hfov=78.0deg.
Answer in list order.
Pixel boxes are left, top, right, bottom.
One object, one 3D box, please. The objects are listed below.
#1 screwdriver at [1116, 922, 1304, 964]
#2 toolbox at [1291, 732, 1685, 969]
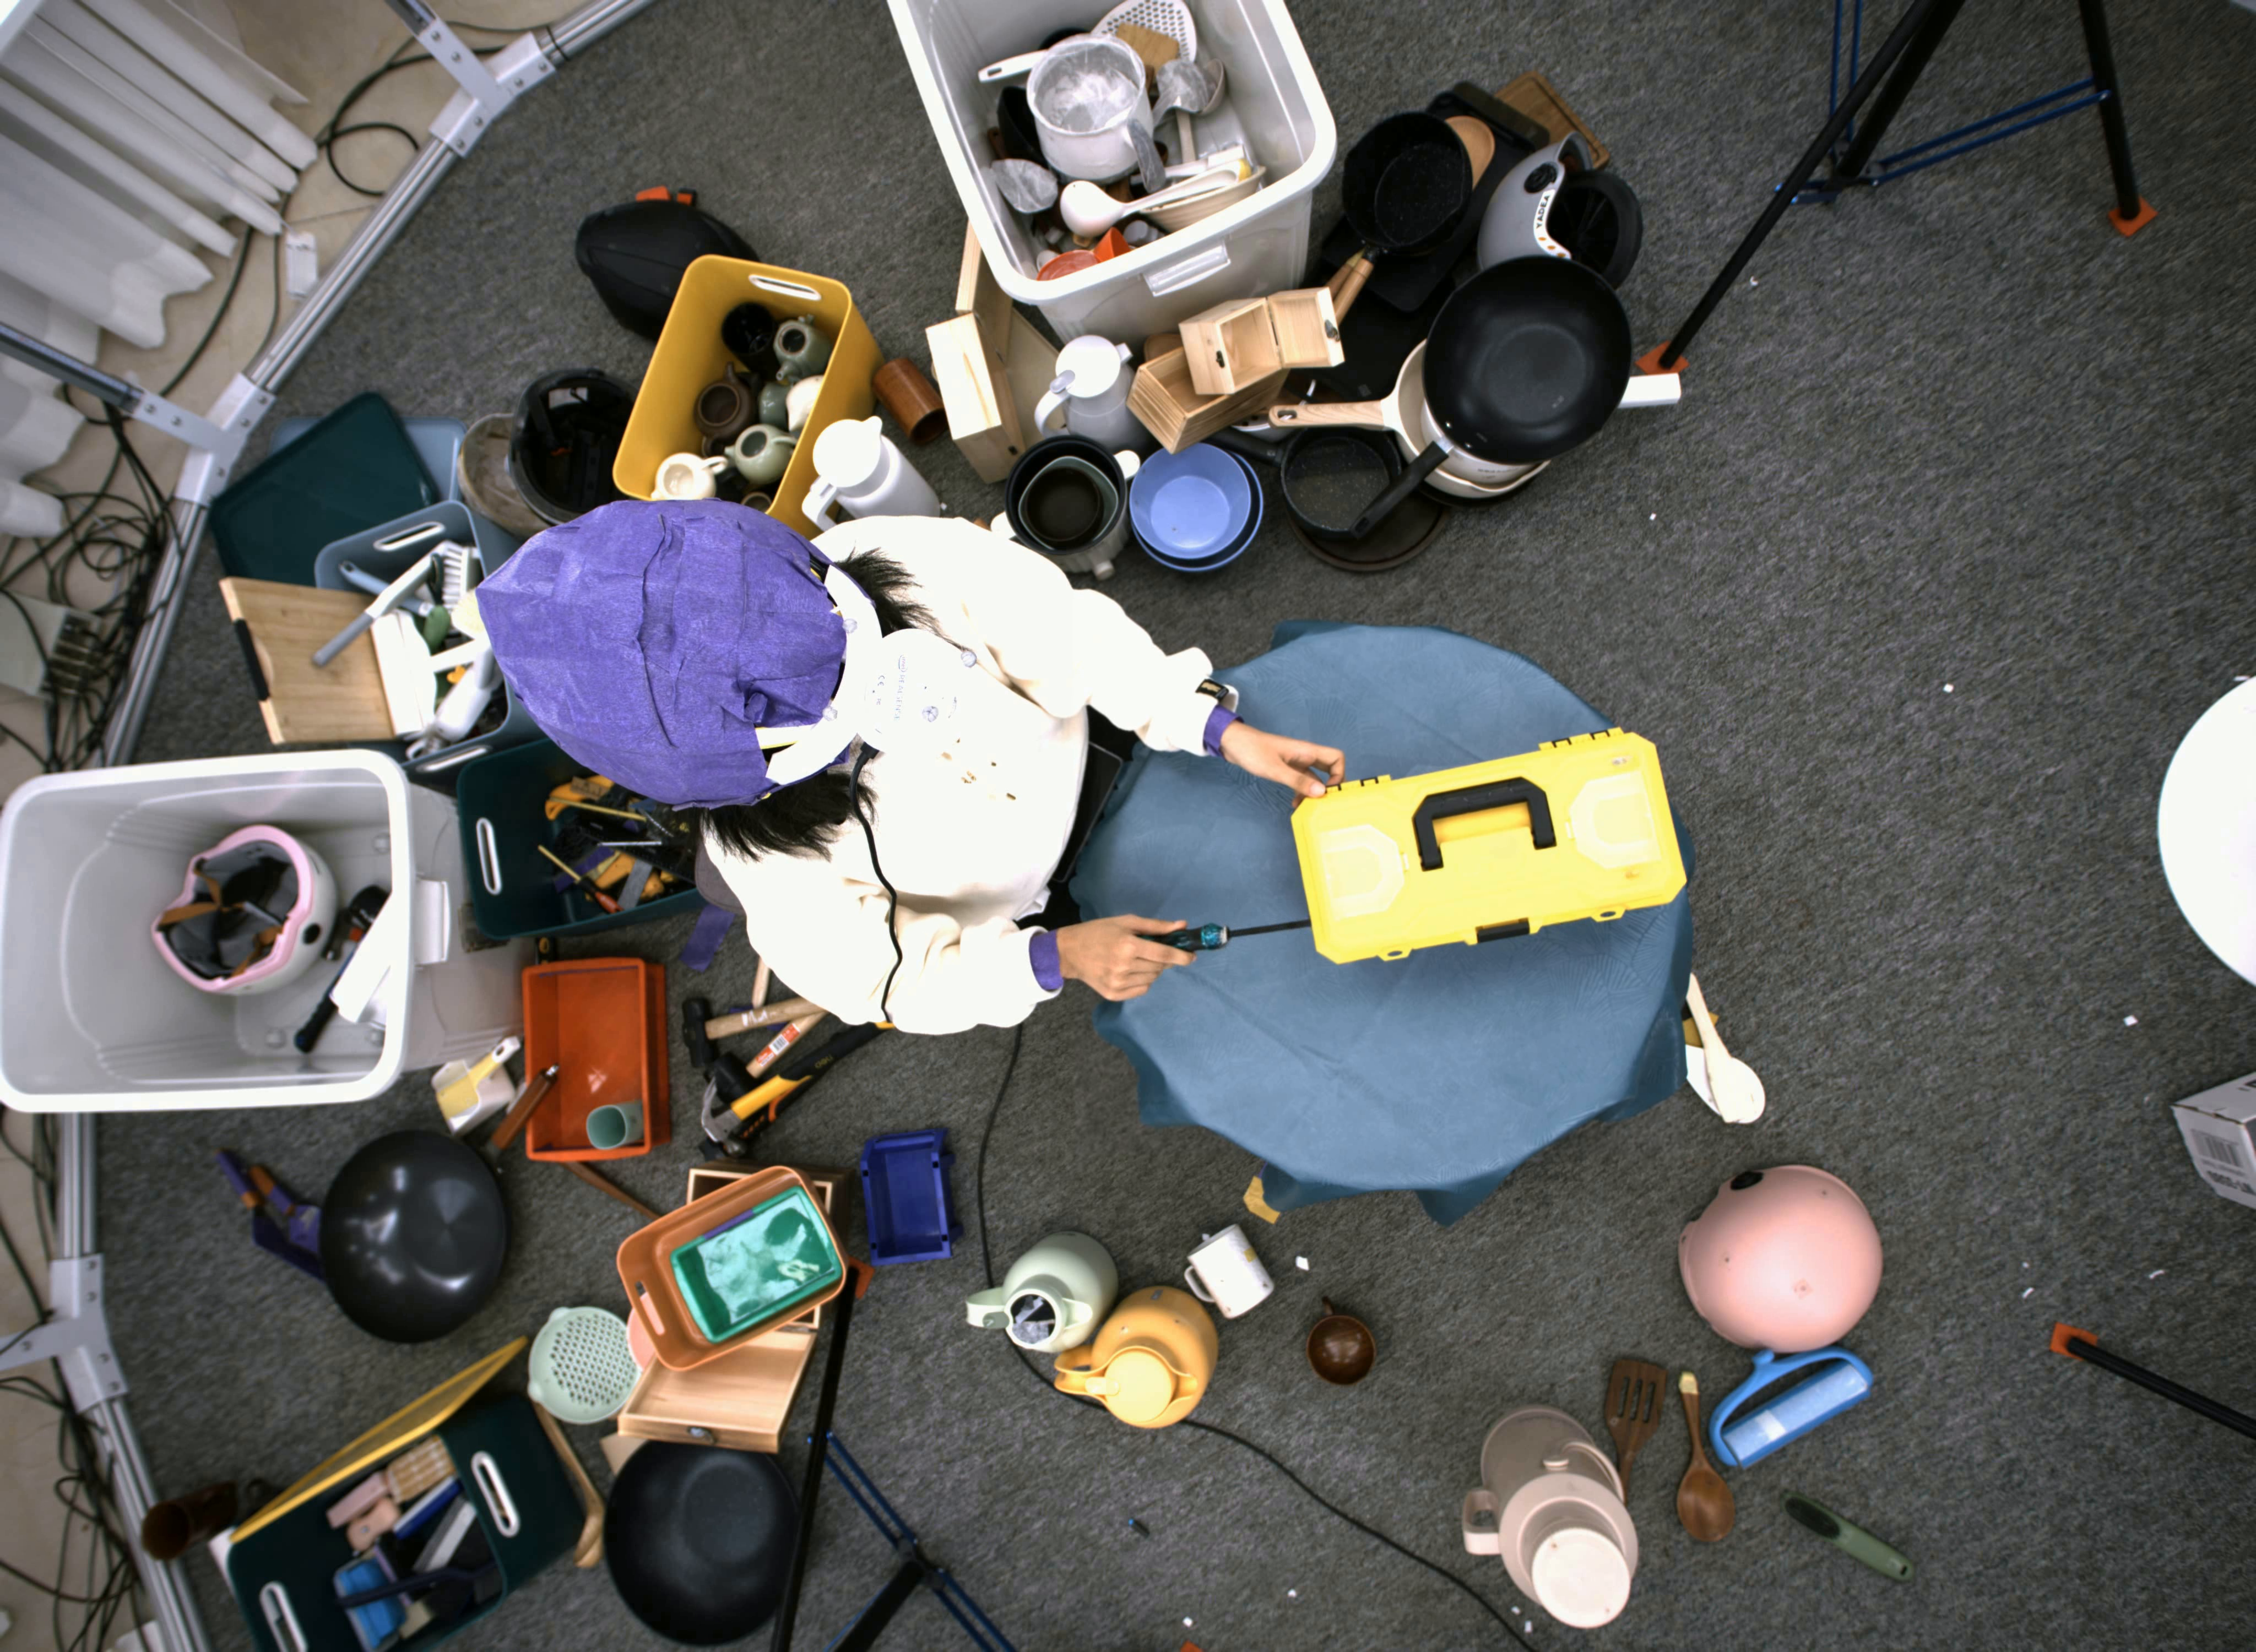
[{"bbox_3d":[0.079,0.108,1.345,0.191,0.033,0.033,-10,83,20],"label":"screwdriver"},{"bbox_3d":[0.348,0.026,1.360,0.353,0.173,0.180,-11,83,9],"label":"toolbox"}]
